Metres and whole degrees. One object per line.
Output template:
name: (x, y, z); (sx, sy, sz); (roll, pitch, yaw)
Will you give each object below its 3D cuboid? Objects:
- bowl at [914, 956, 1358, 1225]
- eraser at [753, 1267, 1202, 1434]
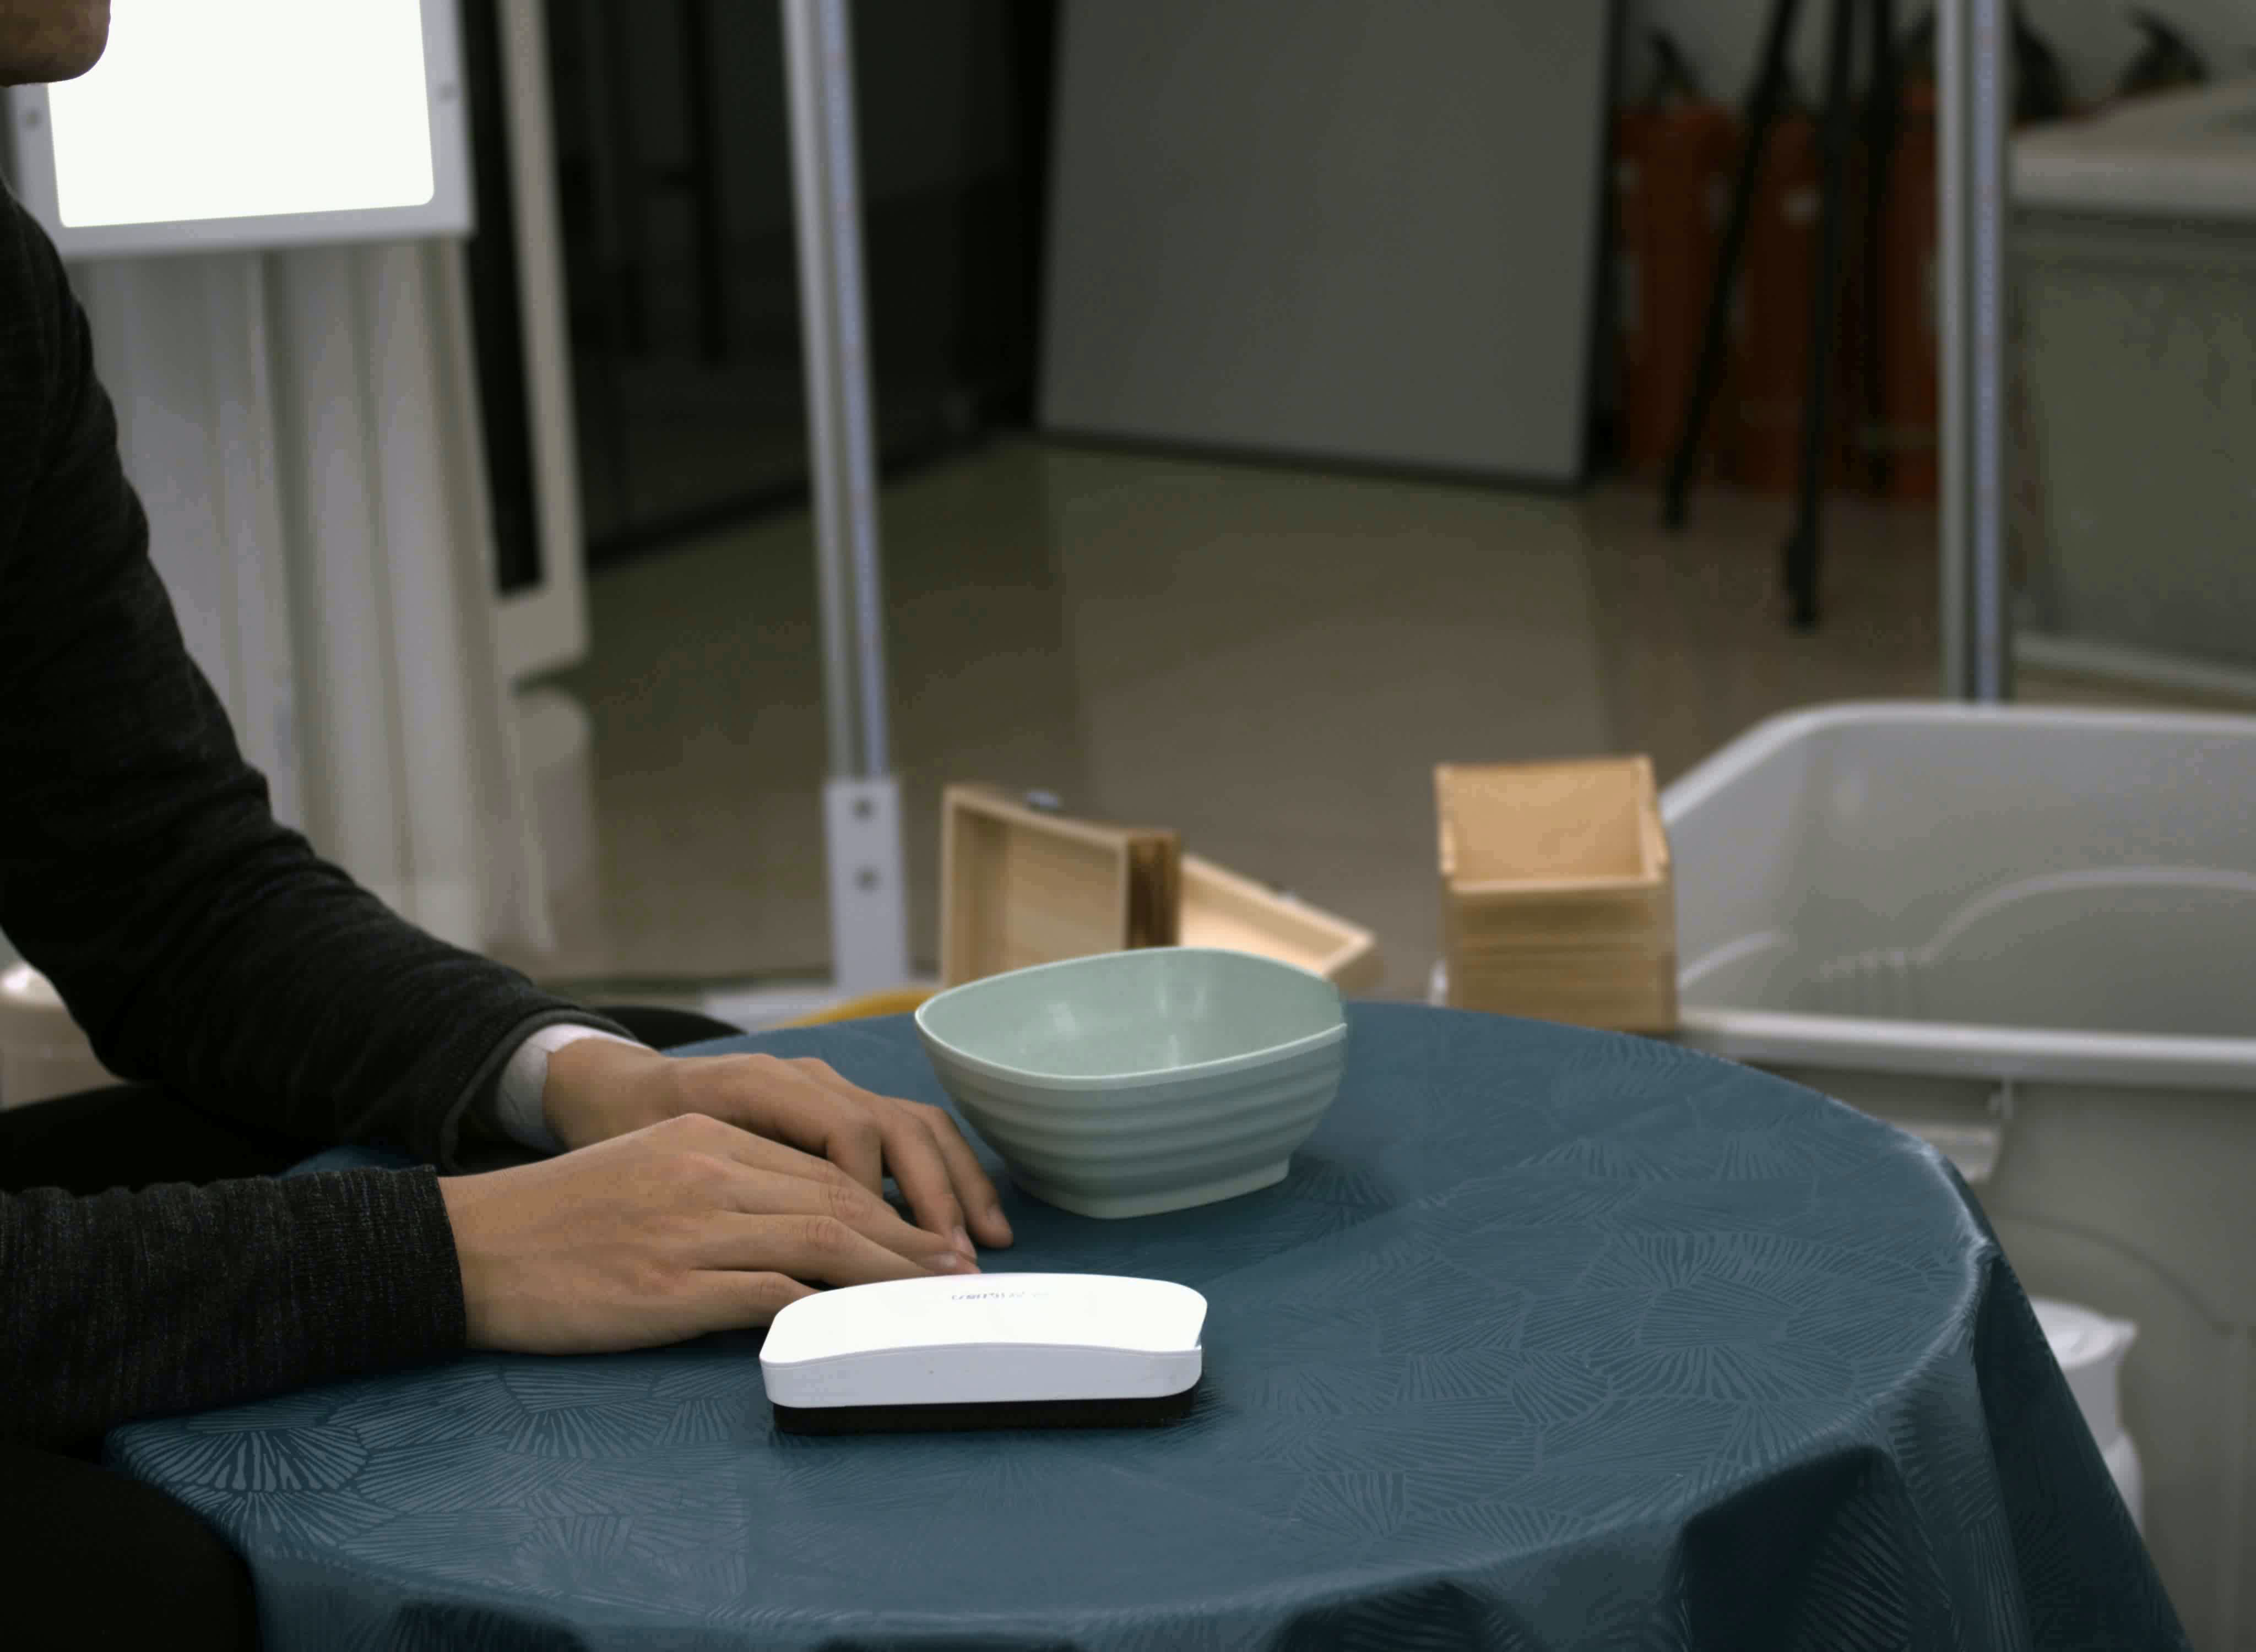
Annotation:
bowl: (0.003, 0.090, 1.780); (0.149, 0.059, 0.151); (-3, 13, 0)
eraser: (-0.043, 0.154, 1.582); (0.130, 0.035, 0.063); (-1, 11, 7)
